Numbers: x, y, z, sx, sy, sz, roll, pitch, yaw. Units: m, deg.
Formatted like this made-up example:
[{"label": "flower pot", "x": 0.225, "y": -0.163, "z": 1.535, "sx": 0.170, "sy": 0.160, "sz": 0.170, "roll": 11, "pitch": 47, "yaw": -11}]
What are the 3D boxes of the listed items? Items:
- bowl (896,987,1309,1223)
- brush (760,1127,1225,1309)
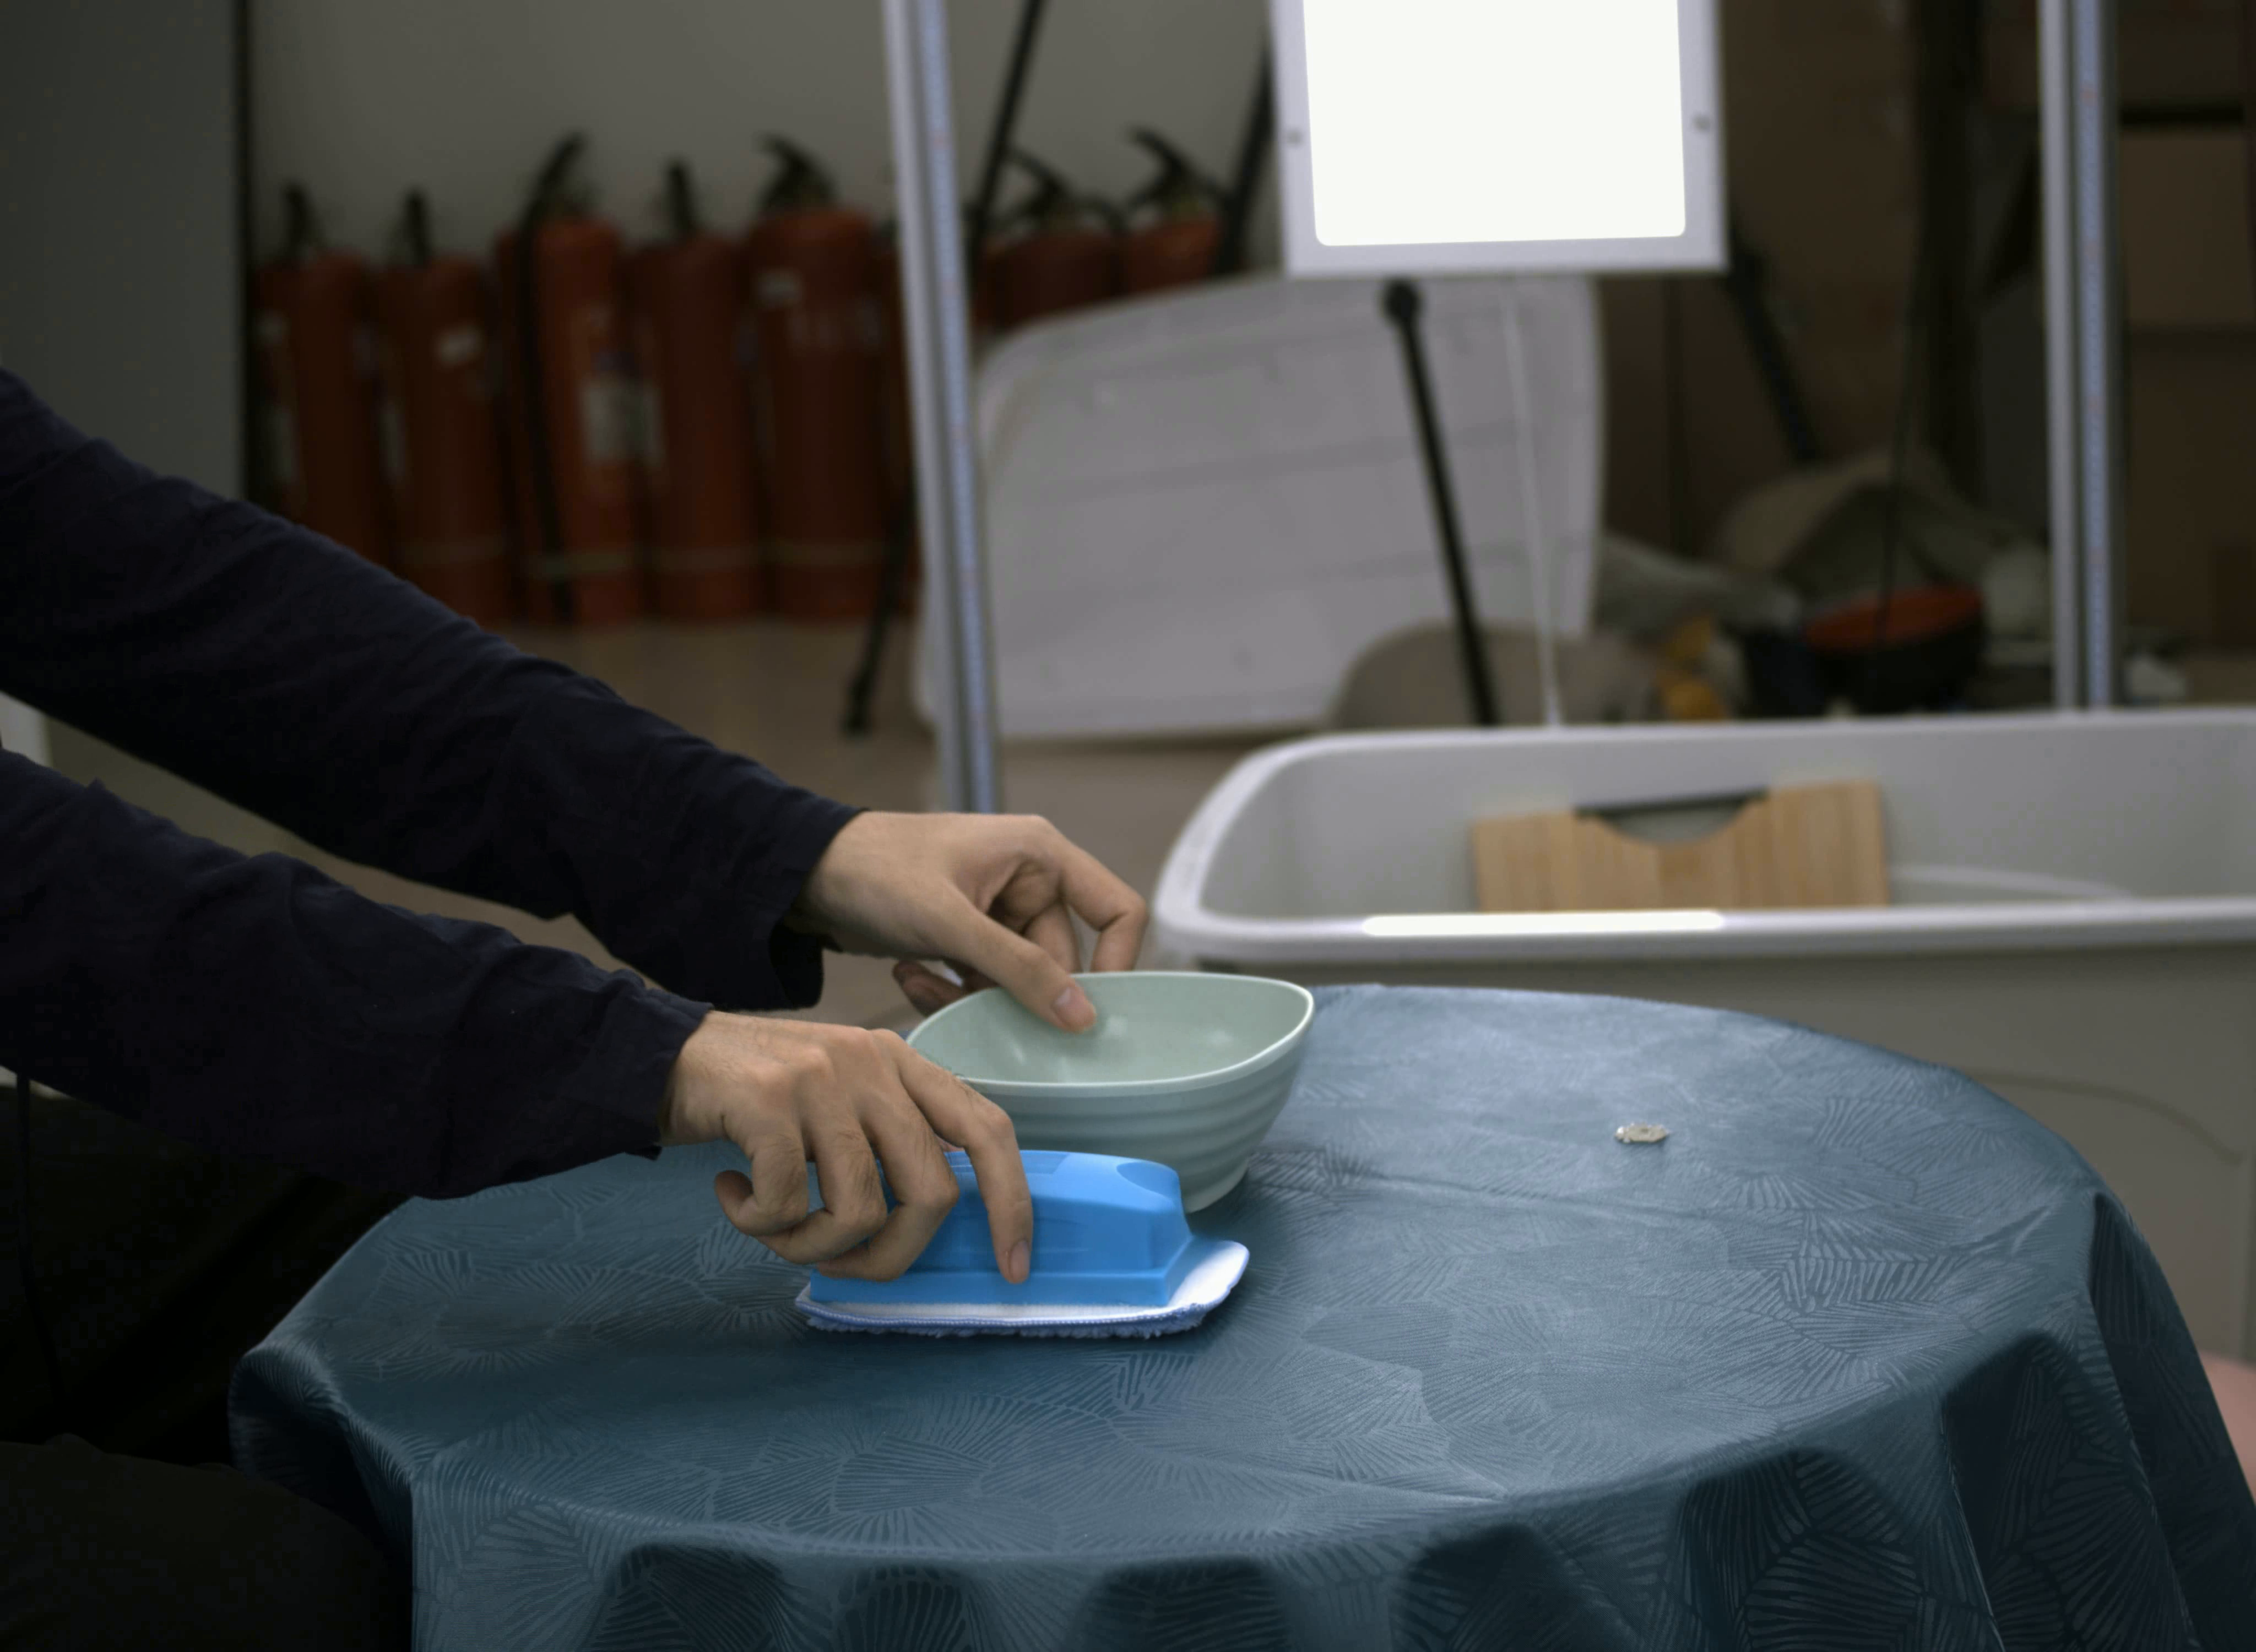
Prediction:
[{"label": "bowl", "x": -0.006, "y": 0.100, "z": 1.902, "sx": 0.151, "sy": 0.059, "sz": 0.151, "roll": -6, "pitch": 12, "yaw": 0}, {"label": "brush", "x": -0.044, "y": 0.127, "z": 1.784, "sx": 0.146, "sy": 0.056, "sz": 0.082, "roll": 1, "pitch": 11, "yaw": 19}]
